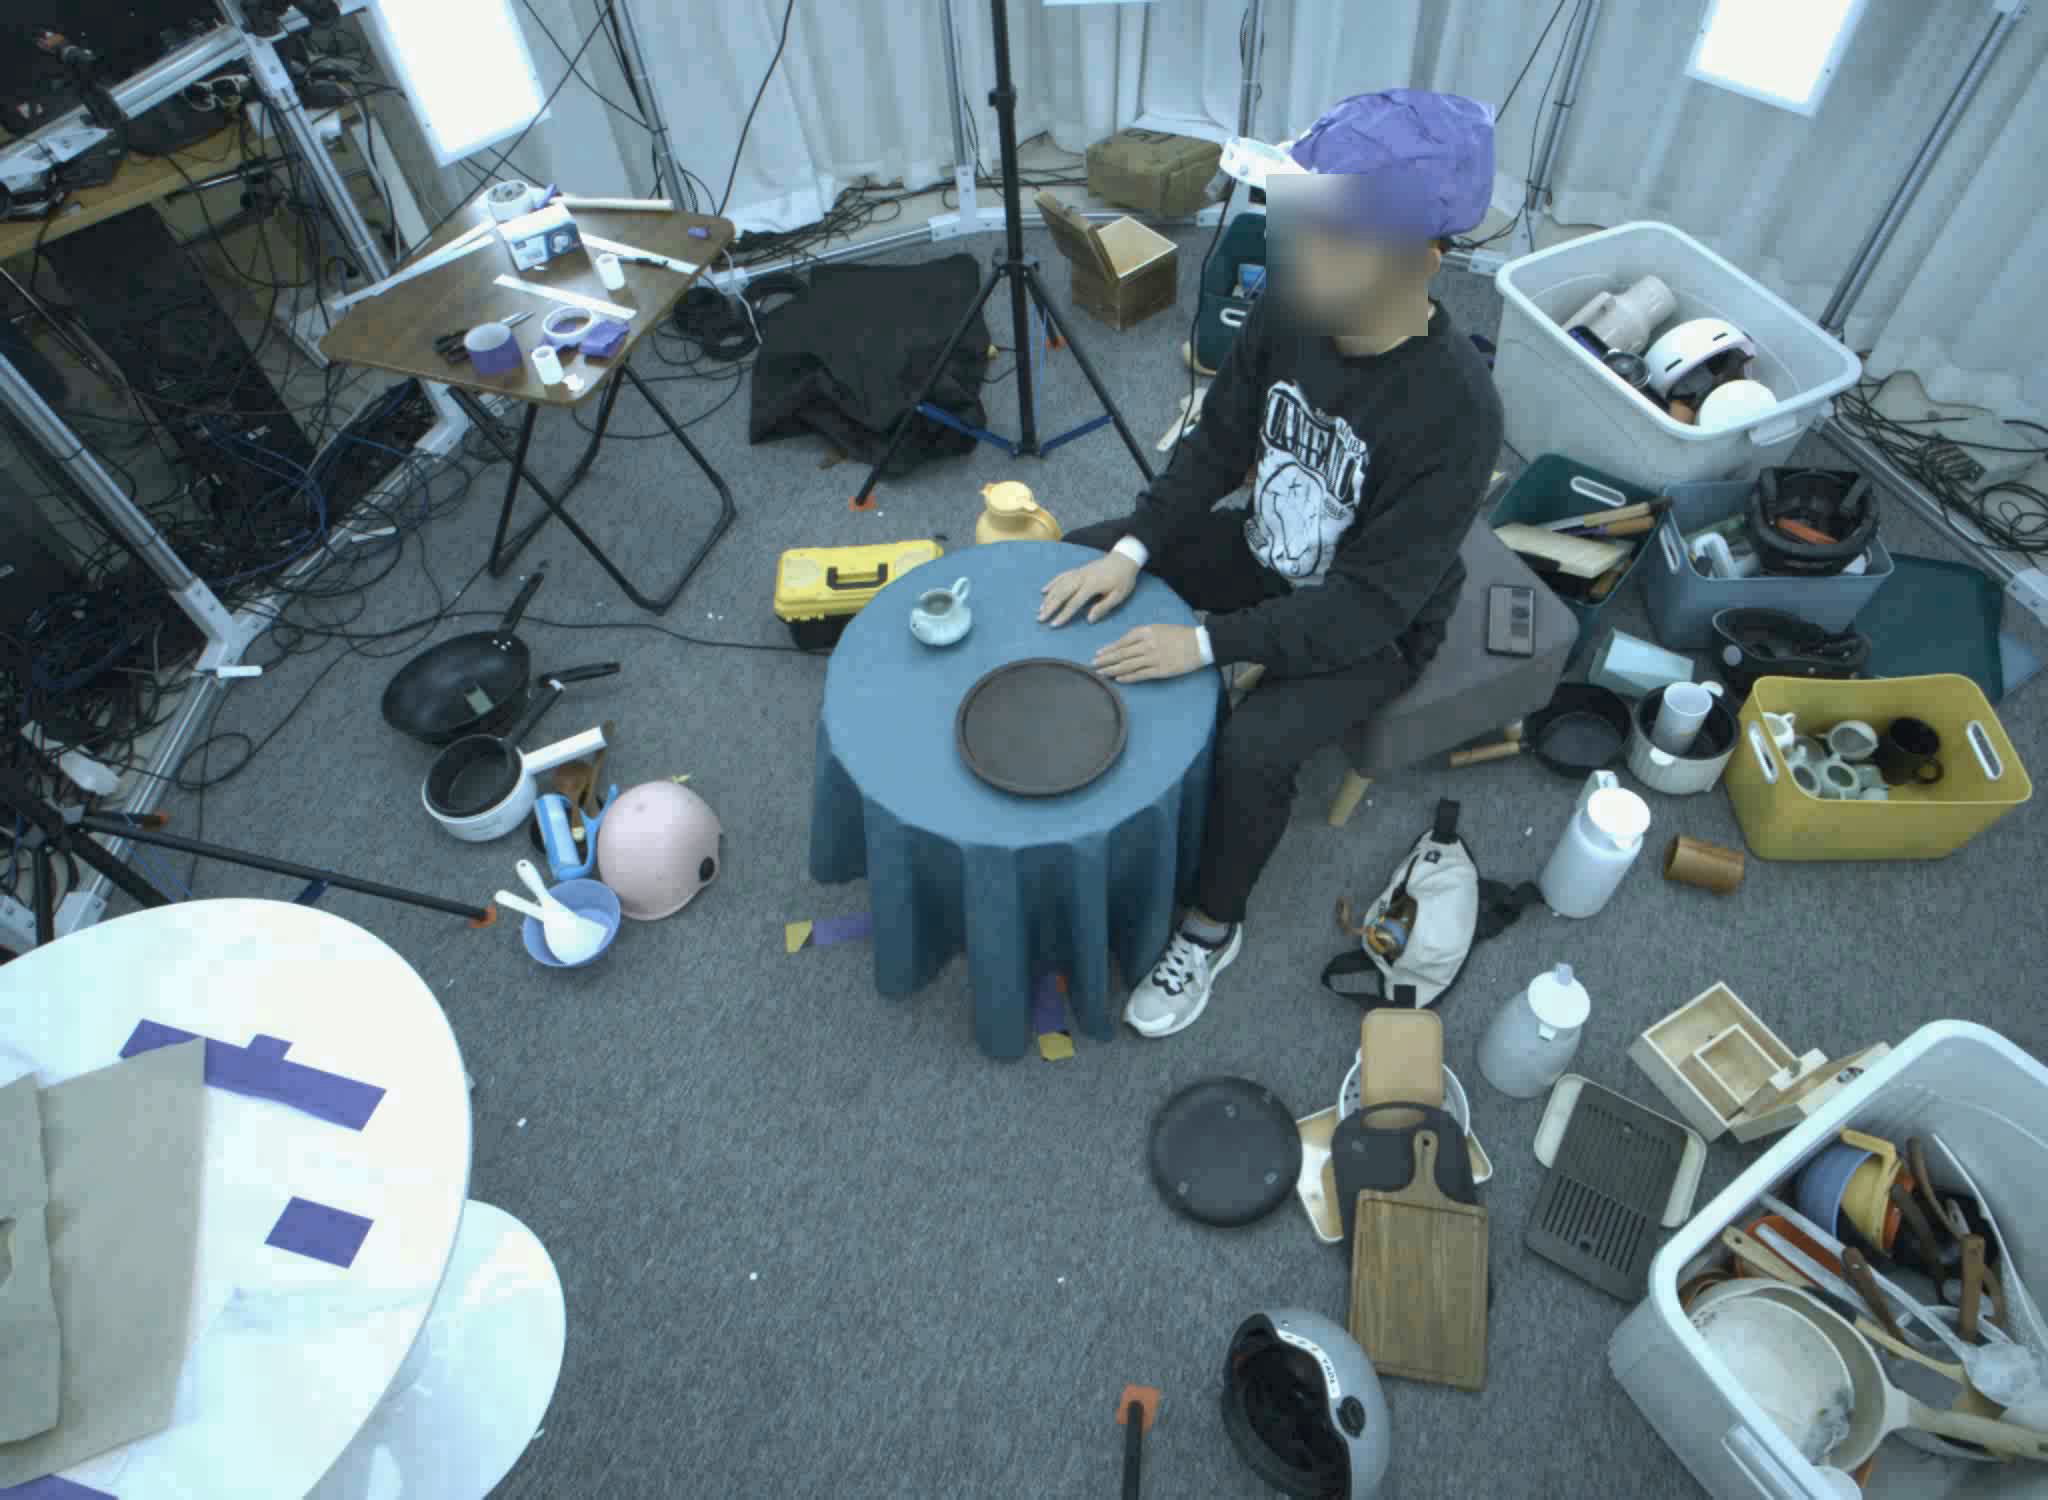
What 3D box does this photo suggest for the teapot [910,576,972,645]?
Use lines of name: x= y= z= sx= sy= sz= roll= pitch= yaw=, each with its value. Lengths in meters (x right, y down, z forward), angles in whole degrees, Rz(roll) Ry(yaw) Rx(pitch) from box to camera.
teapot: x=-0.129 y=-0.213 z=1.902 sx=0.094 sy=0.062 sz=0.137 roll=27 pitch=60 yaw=22

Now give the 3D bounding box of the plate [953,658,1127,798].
plate: x=0.023 y=-0.034 z=1.792 sx=0.254 sy=0.029 sz=0.252 roll=-1 pitch=54 yaw=3
